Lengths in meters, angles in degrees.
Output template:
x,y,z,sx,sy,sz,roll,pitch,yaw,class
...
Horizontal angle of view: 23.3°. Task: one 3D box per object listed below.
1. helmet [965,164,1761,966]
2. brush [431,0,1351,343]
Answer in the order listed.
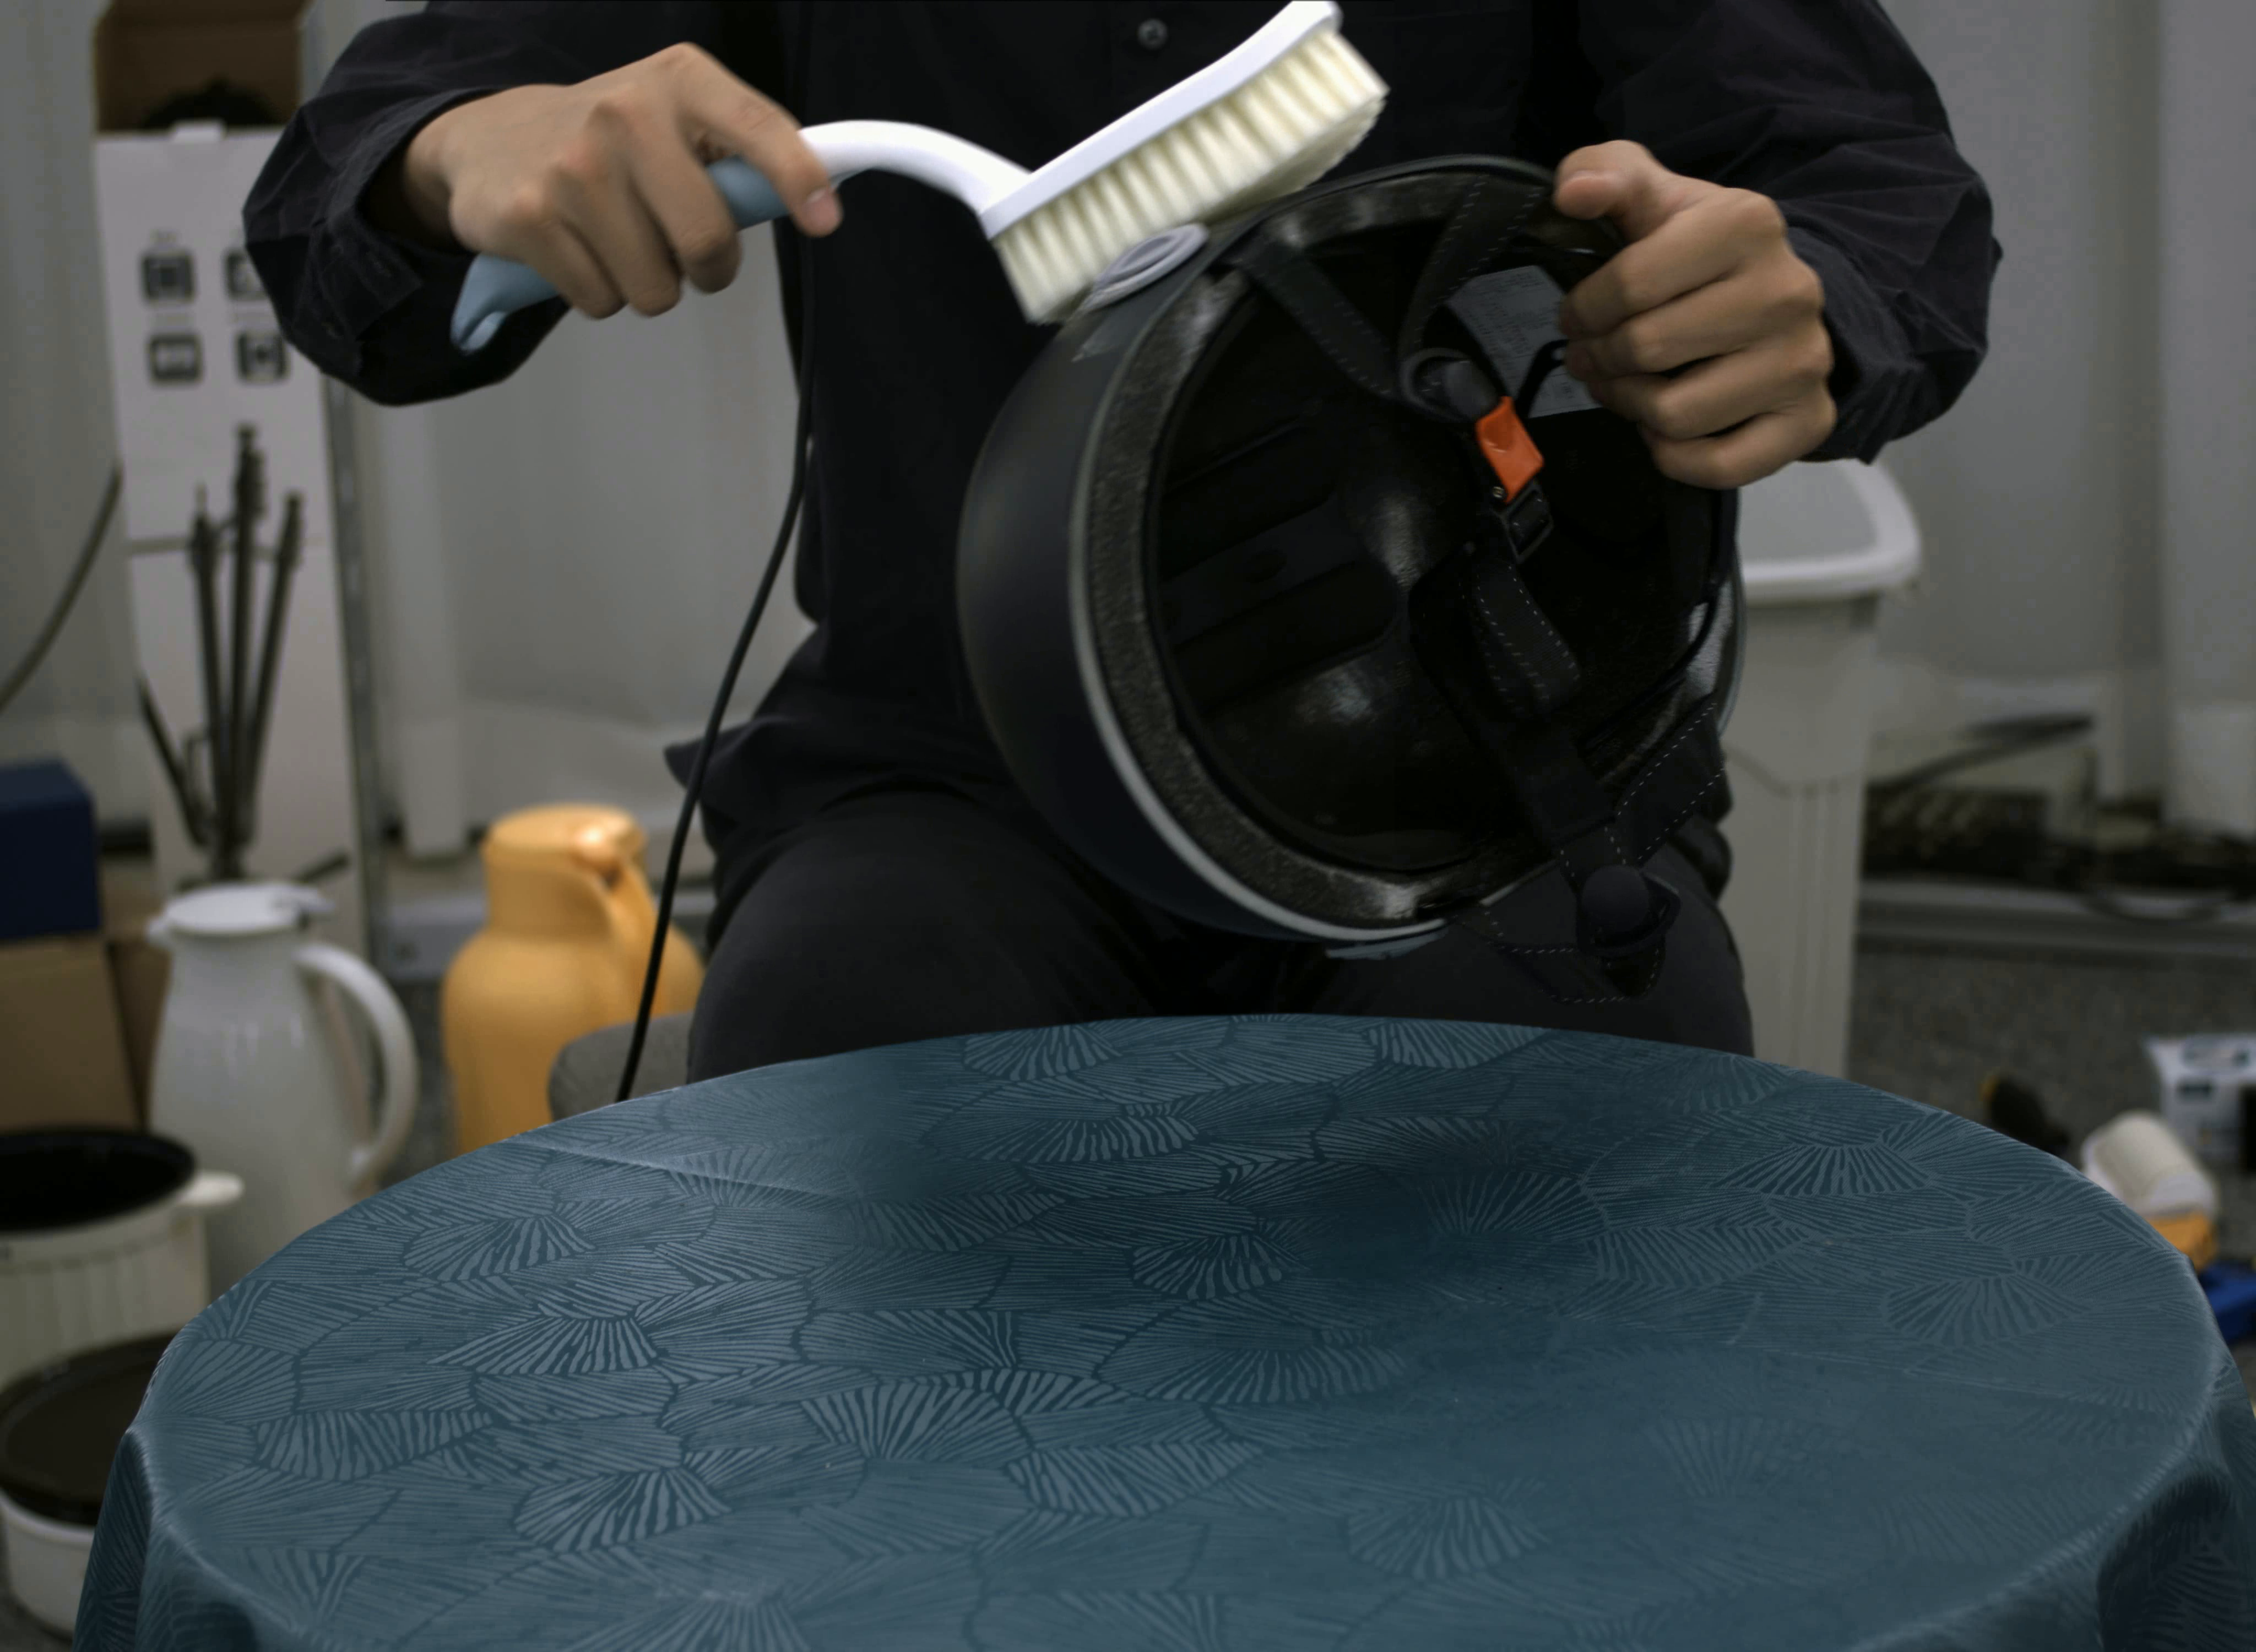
x,y,z,sx,sy,sz,roll,pitch,yaw,class
0.055,-0.078,1.688,0.273,0.229,0.167,-28,12,-32,helmet
-0.074,-0.176,1.727,0.325,0.082,0.086,-16,52,25,brush
